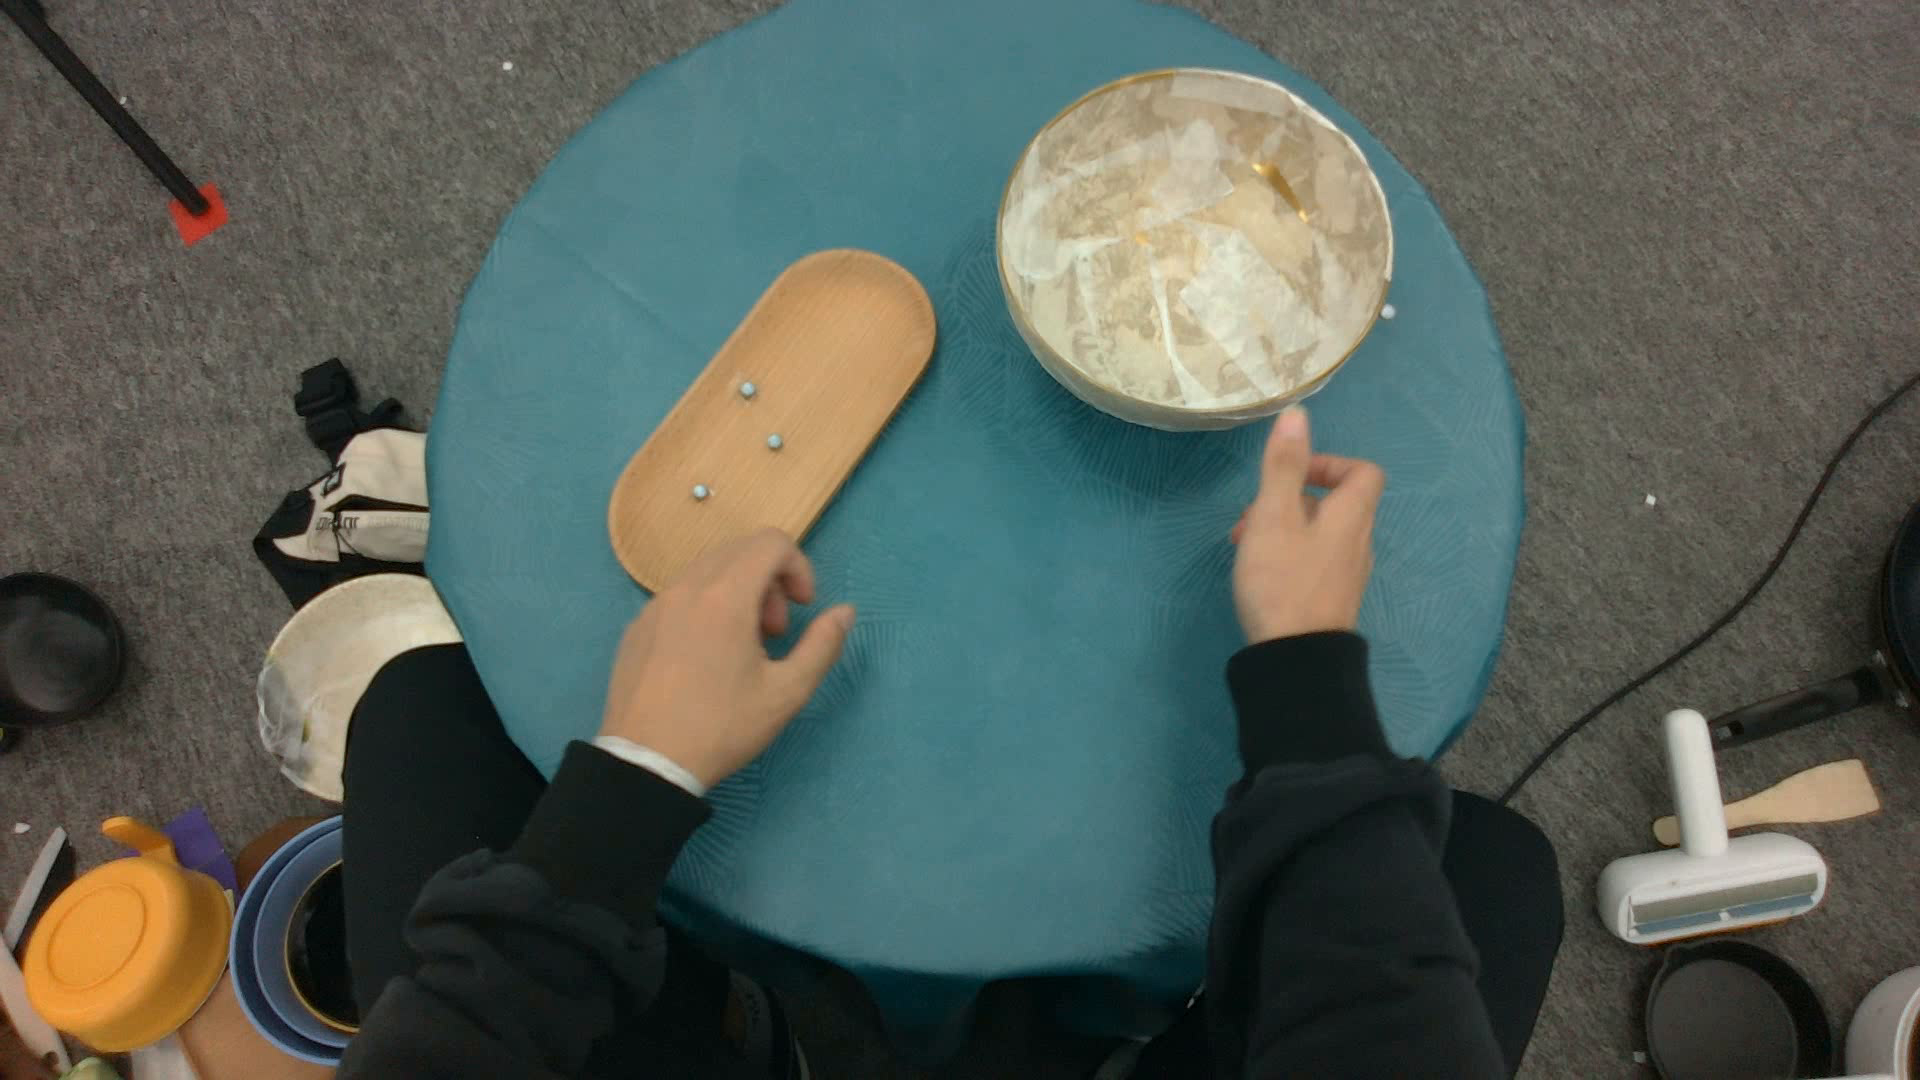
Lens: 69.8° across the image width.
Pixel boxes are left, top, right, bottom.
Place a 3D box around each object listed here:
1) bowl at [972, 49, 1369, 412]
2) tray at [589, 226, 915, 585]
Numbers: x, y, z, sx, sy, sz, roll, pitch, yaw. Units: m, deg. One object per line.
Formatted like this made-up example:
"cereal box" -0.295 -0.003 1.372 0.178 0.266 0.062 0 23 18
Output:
"bowl" 0.103 -0.151 0.741 0.215 0.094 0.215 1 71 -3
"tray" -0.110 -0.076 0.750 0.101 0.020 0.232 31 71 6
